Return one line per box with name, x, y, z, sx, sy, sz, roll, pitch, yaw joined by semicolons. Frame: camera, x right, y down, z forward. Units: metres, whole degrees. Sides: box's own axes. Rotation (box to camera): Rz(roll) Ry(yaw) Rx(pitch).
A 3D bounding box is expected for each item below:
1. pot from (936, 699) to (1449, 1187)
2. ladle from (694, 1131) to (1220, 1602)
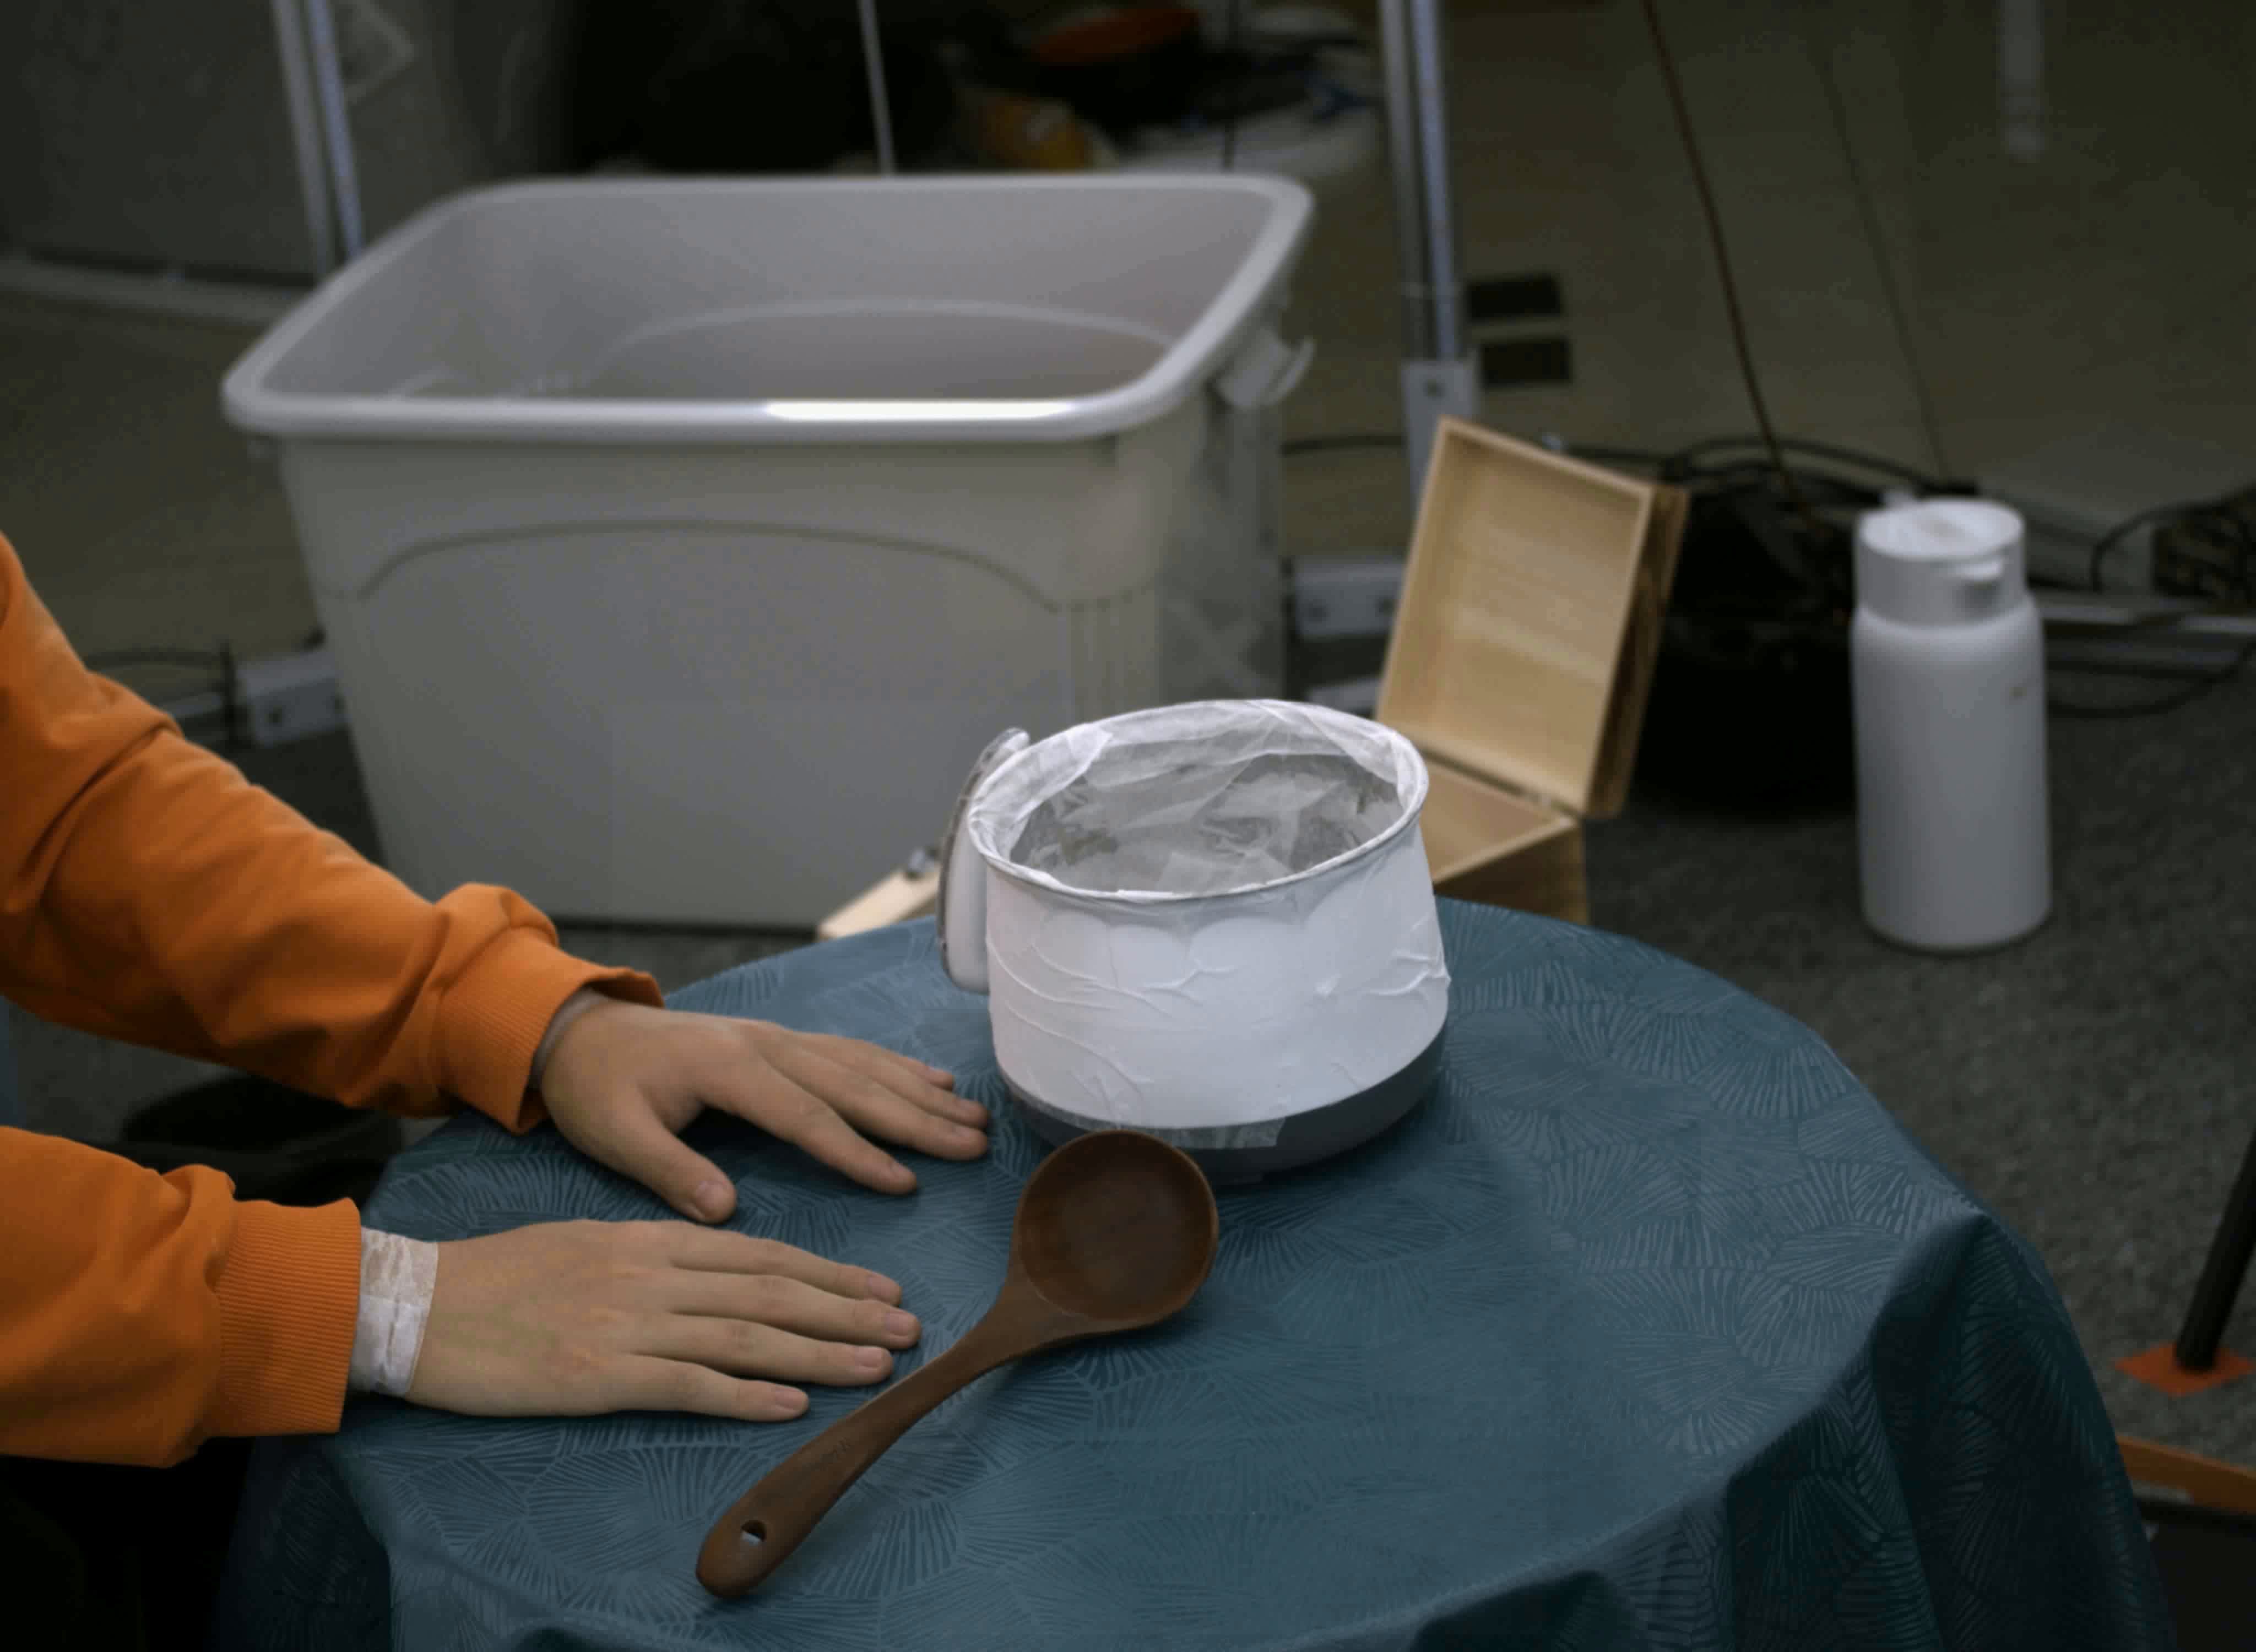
pot;0.012;0.039;2.192;0.232;0.139;0.177;17;33;39
ladle;-0.061;0.187;1.987;0.076;0.066;0.257;35;41;20
